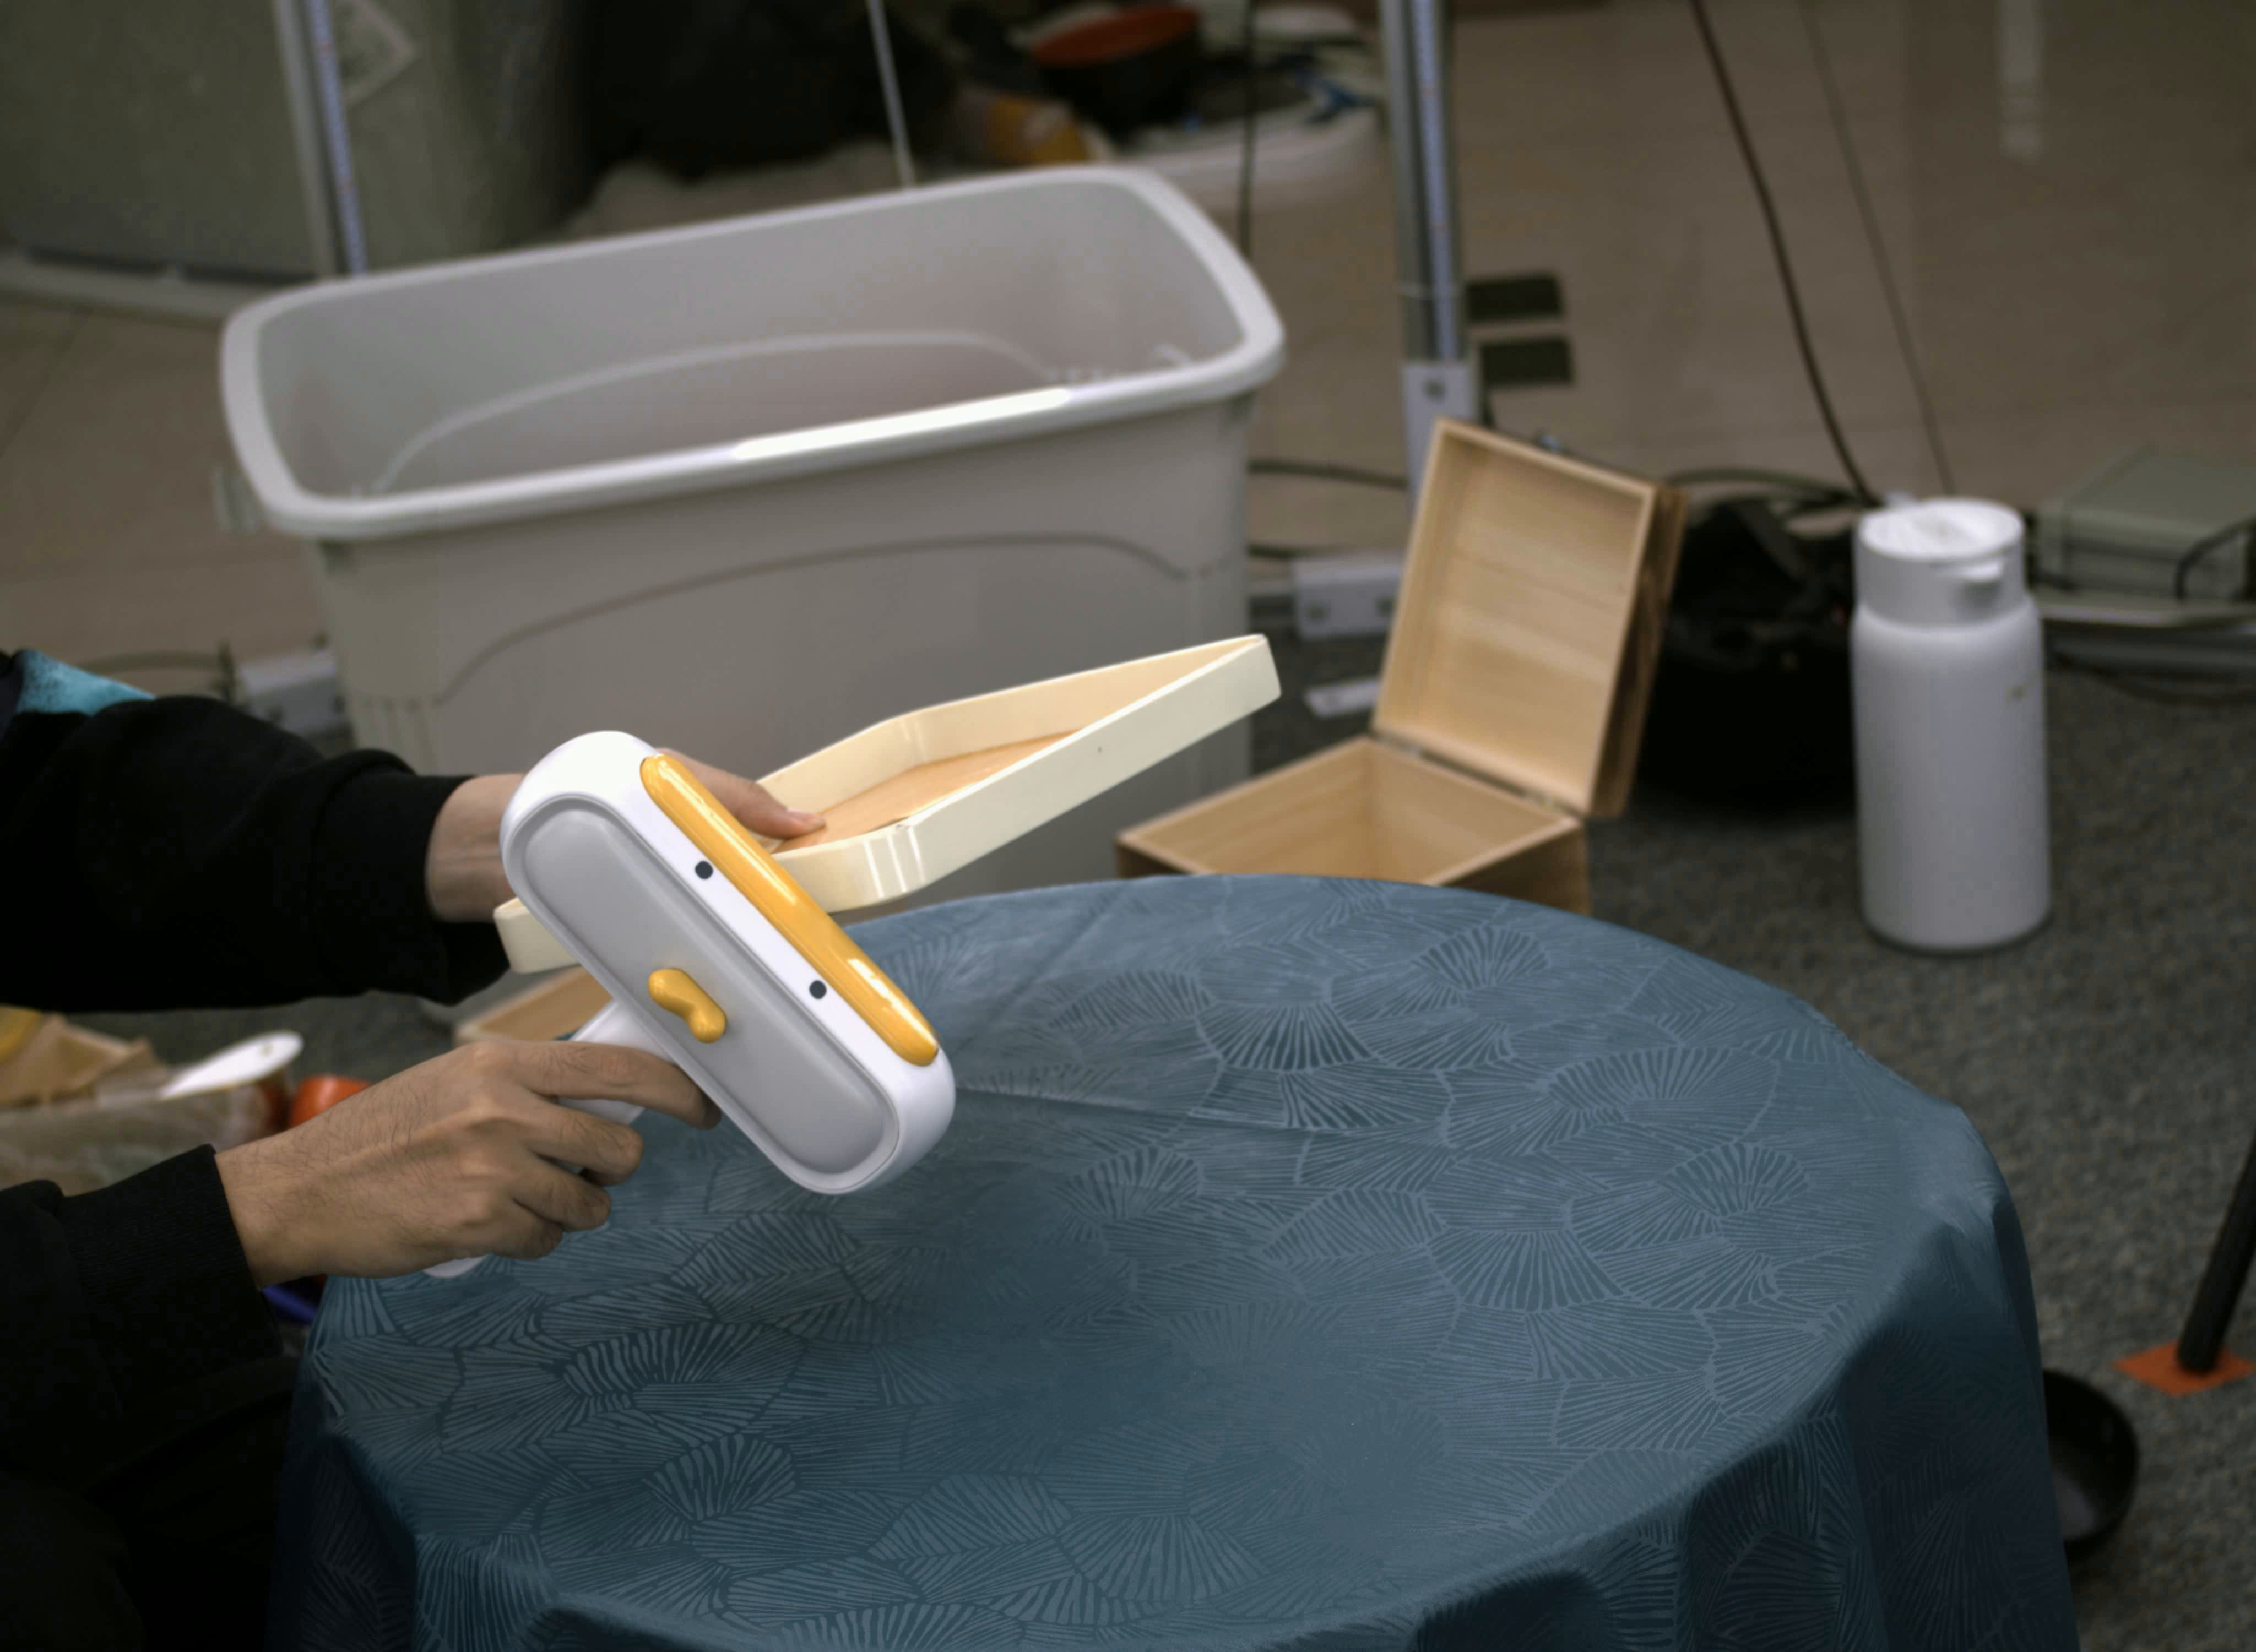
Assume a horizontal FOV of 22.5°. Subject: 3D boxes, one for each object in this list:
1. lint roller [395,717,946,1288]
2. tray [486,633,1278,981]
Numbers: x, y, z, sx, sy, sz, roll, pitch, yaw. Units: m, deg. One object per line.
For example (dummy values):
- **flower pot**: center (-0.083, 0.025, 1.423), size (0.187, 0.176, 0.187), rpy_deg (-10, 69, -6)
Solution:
- **lint roller**: center (-0.185, 0.085, 1.994), size (0.194, 0.193, 0.073), rpy_deg (-45, 10, 22)
- **tray**: center (-0.088, -0.009, 2.141), size (0.192, 0.027, 0.298), rpy_deg (-12, 9, 34)
